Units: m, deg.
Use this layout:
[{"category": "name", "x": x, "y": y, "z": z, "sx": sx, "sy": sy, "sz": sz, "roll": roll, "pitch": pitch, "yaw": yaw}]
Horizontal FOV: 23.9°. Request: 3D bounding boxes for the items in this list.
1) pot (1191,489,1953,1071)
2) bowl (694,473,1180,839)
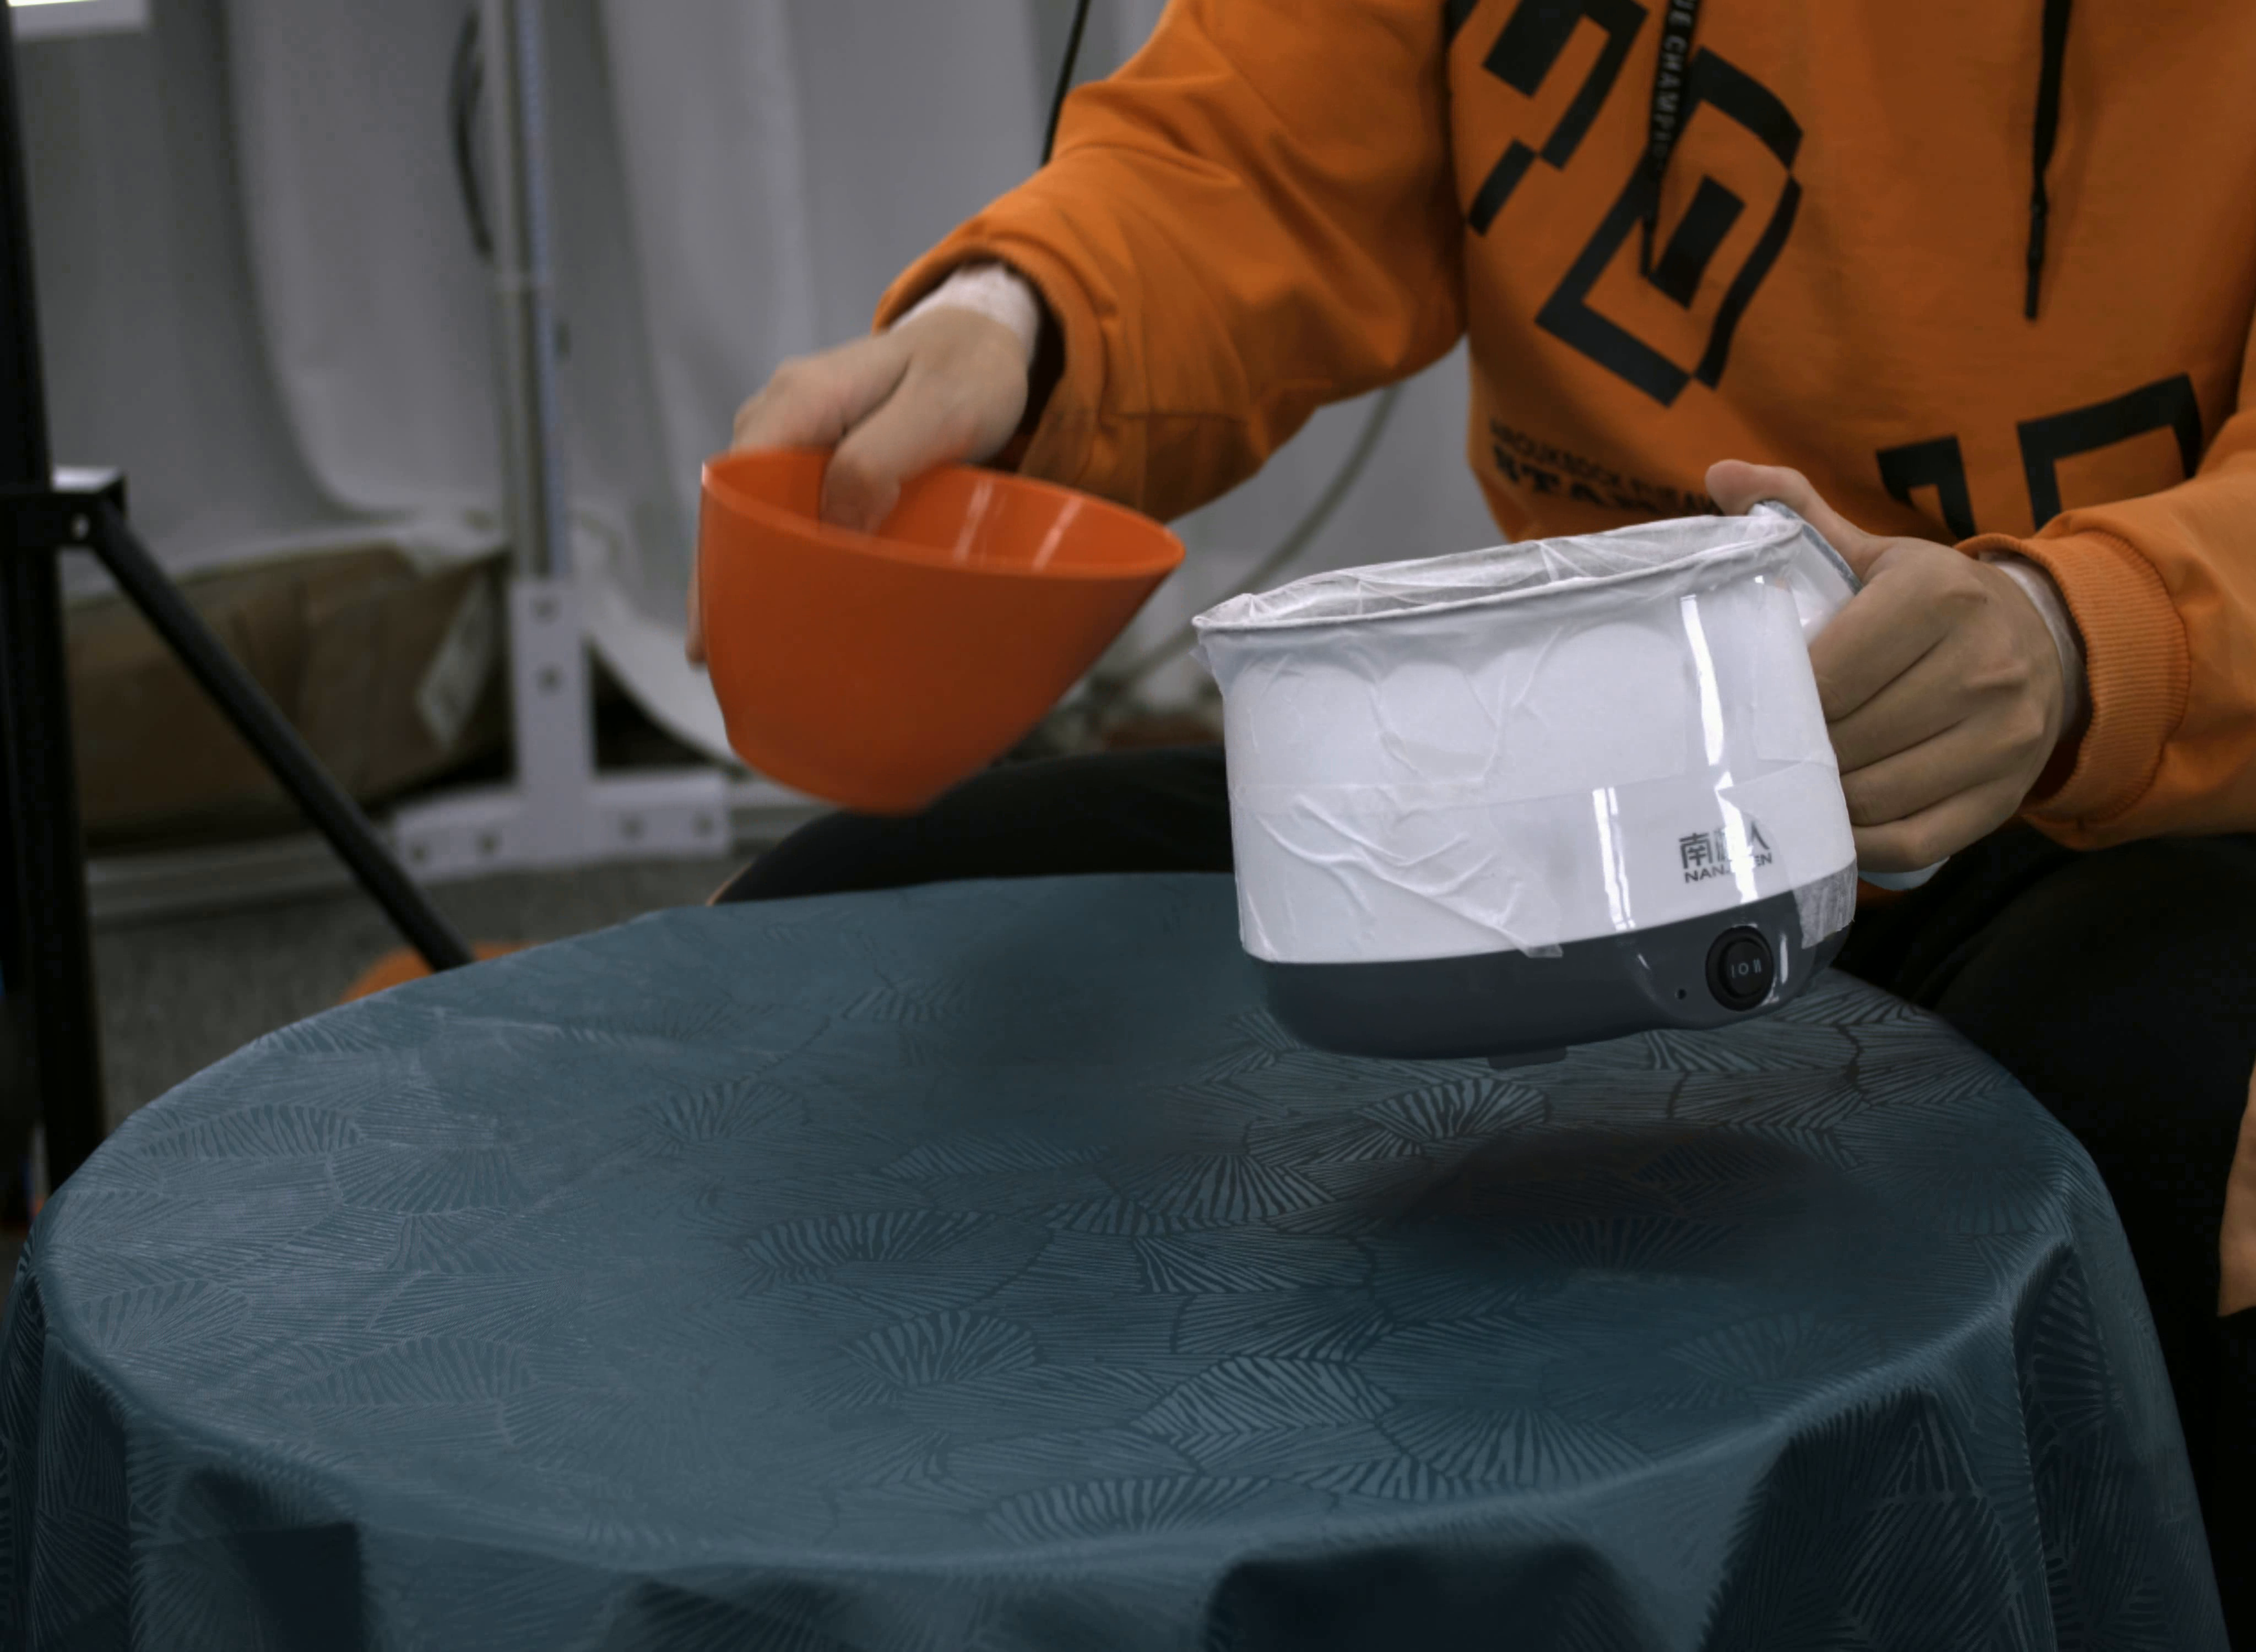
[{"category": "pot", "x": 0.137, "y": -0.016, "z": 1.530, "sx": 0.228, "sy": 0.137, "sz": 0.182, "roll": -13, "pitch": 8, "yaw": -31}, {"category": "bowl", "x": -0.069, "y": -0.052, "z": 1.624, "sx": 0.146, "sy": 0.105, "sz": 0.149, "roll": 15, "pitch": 18, "yaw": -6}]
